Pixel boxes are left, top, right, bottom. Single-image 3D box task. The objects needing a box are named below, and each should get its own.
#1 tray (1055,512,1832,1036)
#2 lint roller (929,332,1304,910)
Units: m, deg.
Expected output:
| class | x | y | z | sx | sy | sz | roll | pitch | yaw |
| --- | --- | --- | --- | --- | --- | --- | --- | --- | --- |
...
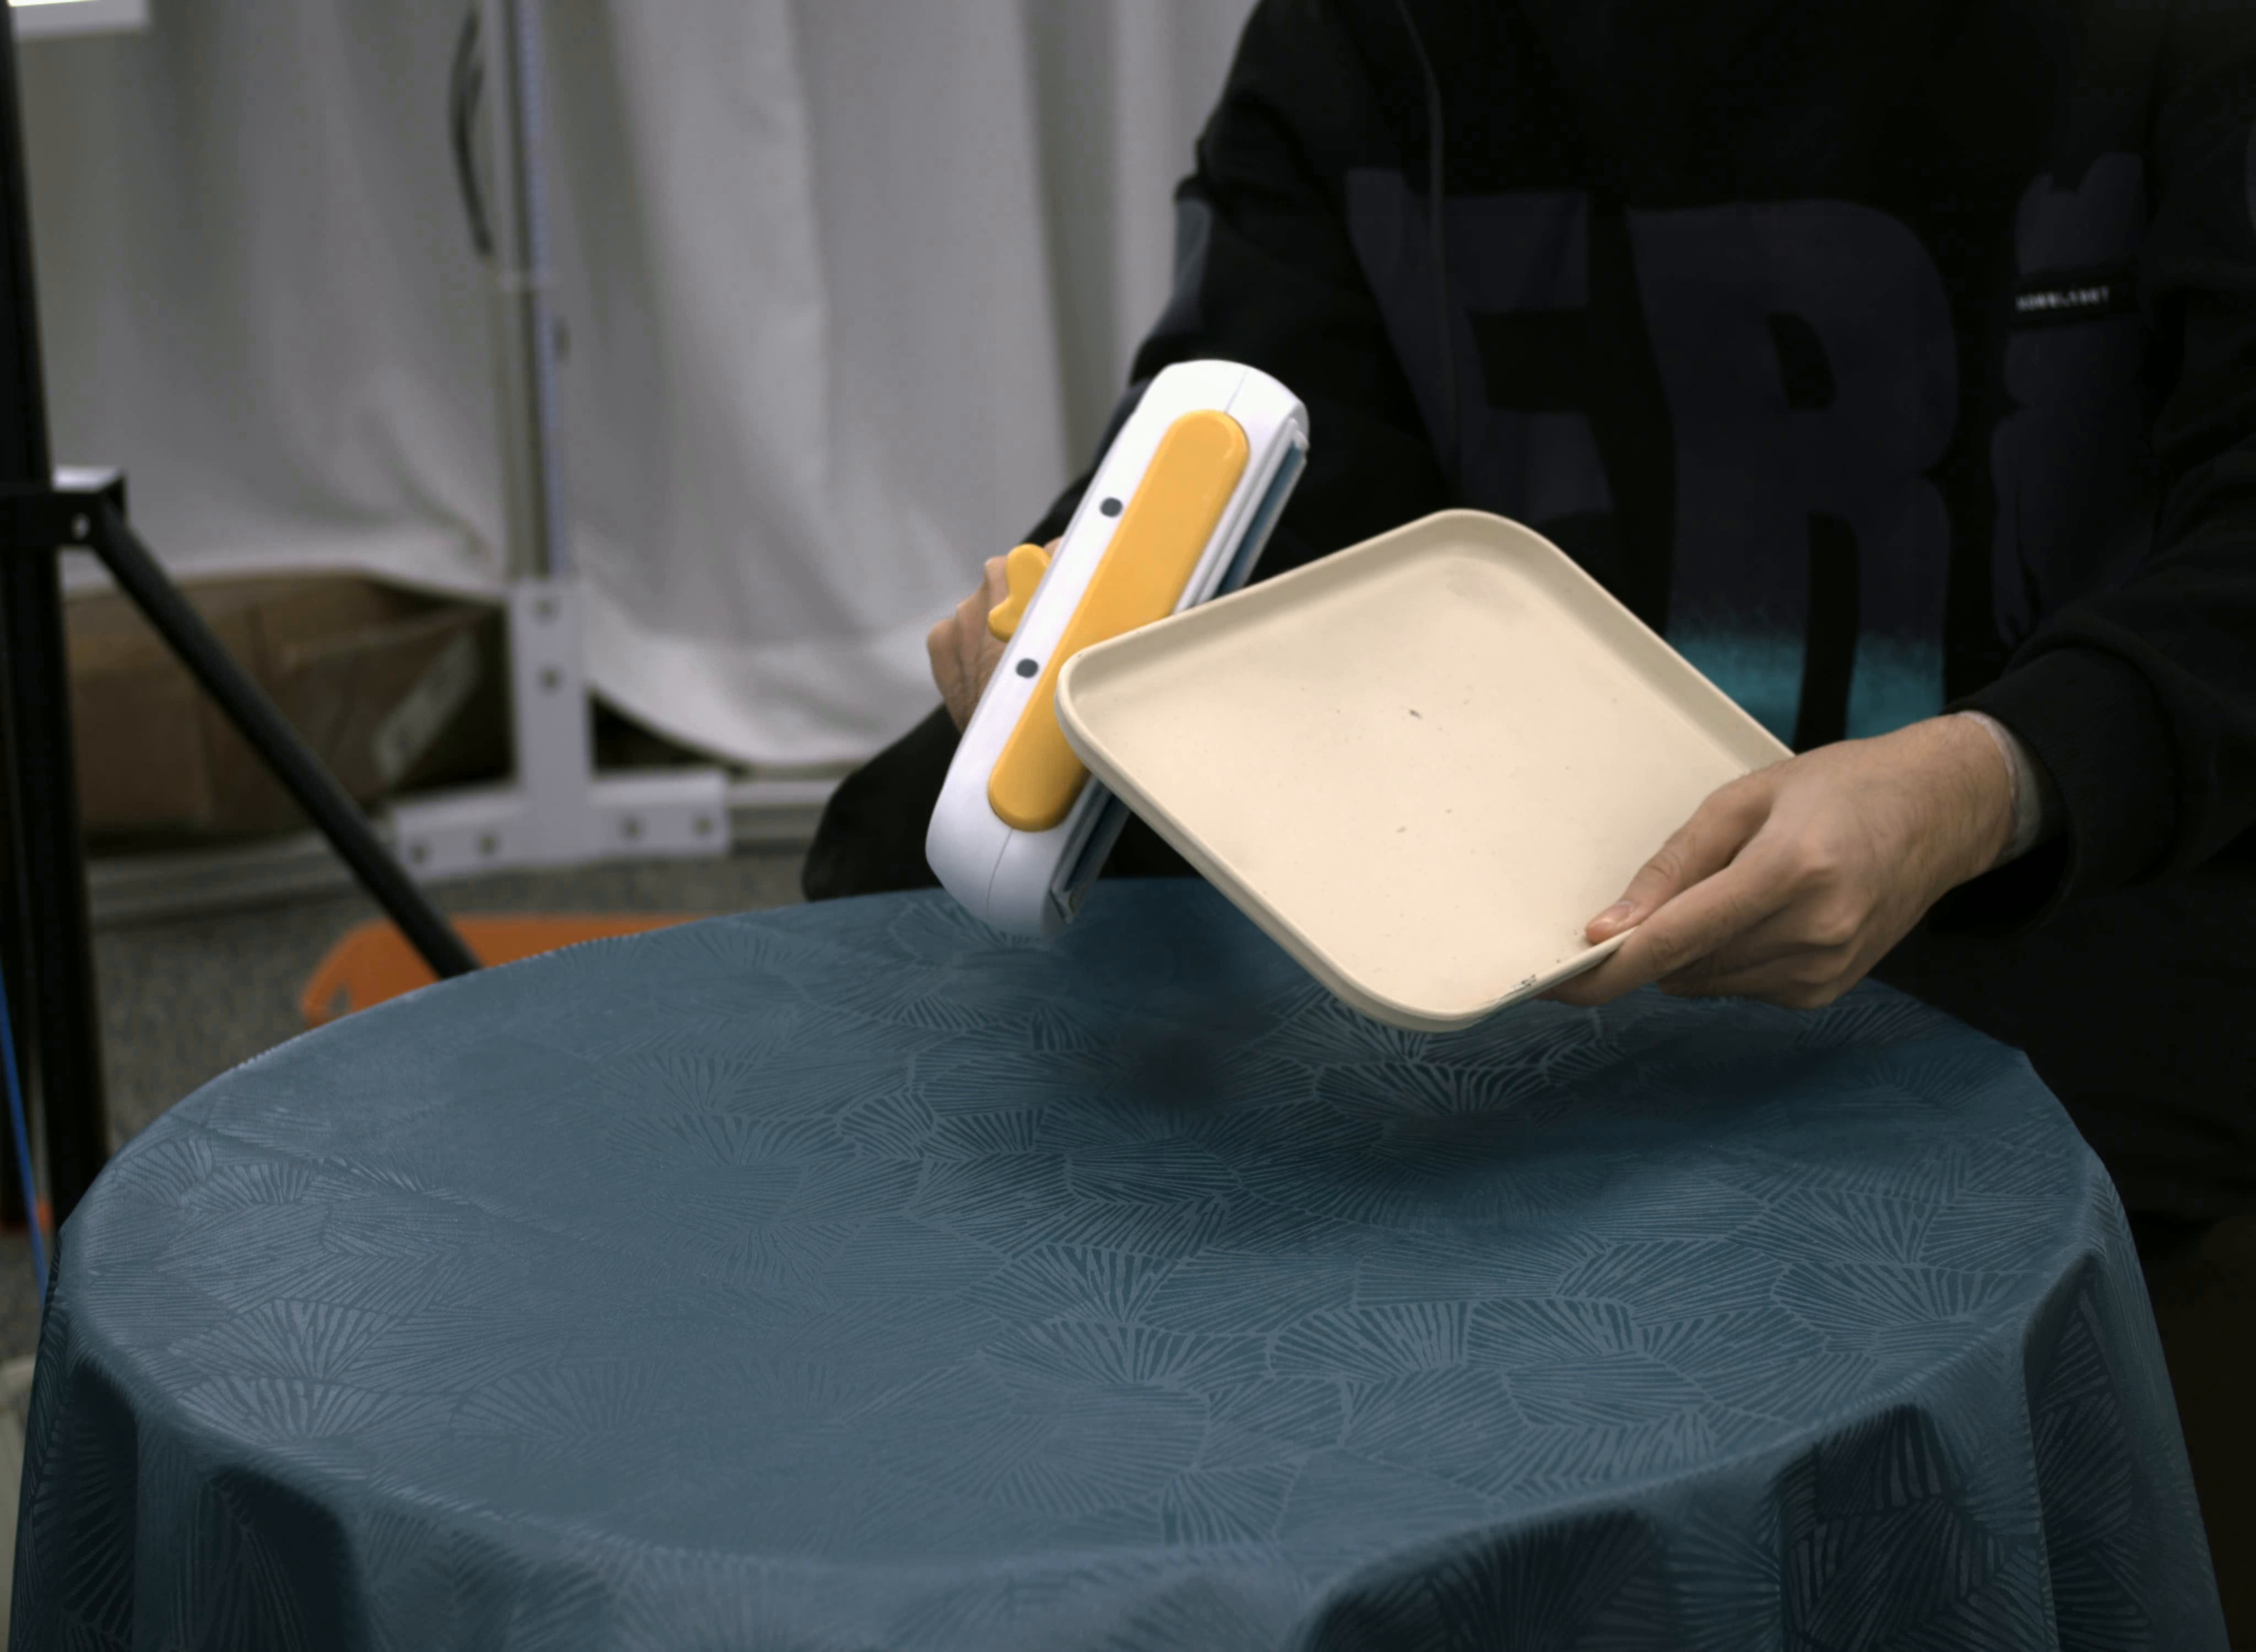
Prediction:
| class | x | y | z | sx | sy | sz | roll | pitch | yaw |
| --- | --- | --- | --- | --- | --- | --- | --- | --- | --- |
| tray | 0.098 | -0.017 | 1.622 | 0.174 | 0.017 | 0.234 | 43 | 40 | 24 |
| lint roller | -0.012 | -0.050 | 1.714 | 0.074 | 0.193 | 0.192 | 22 | -17 | 4 |
